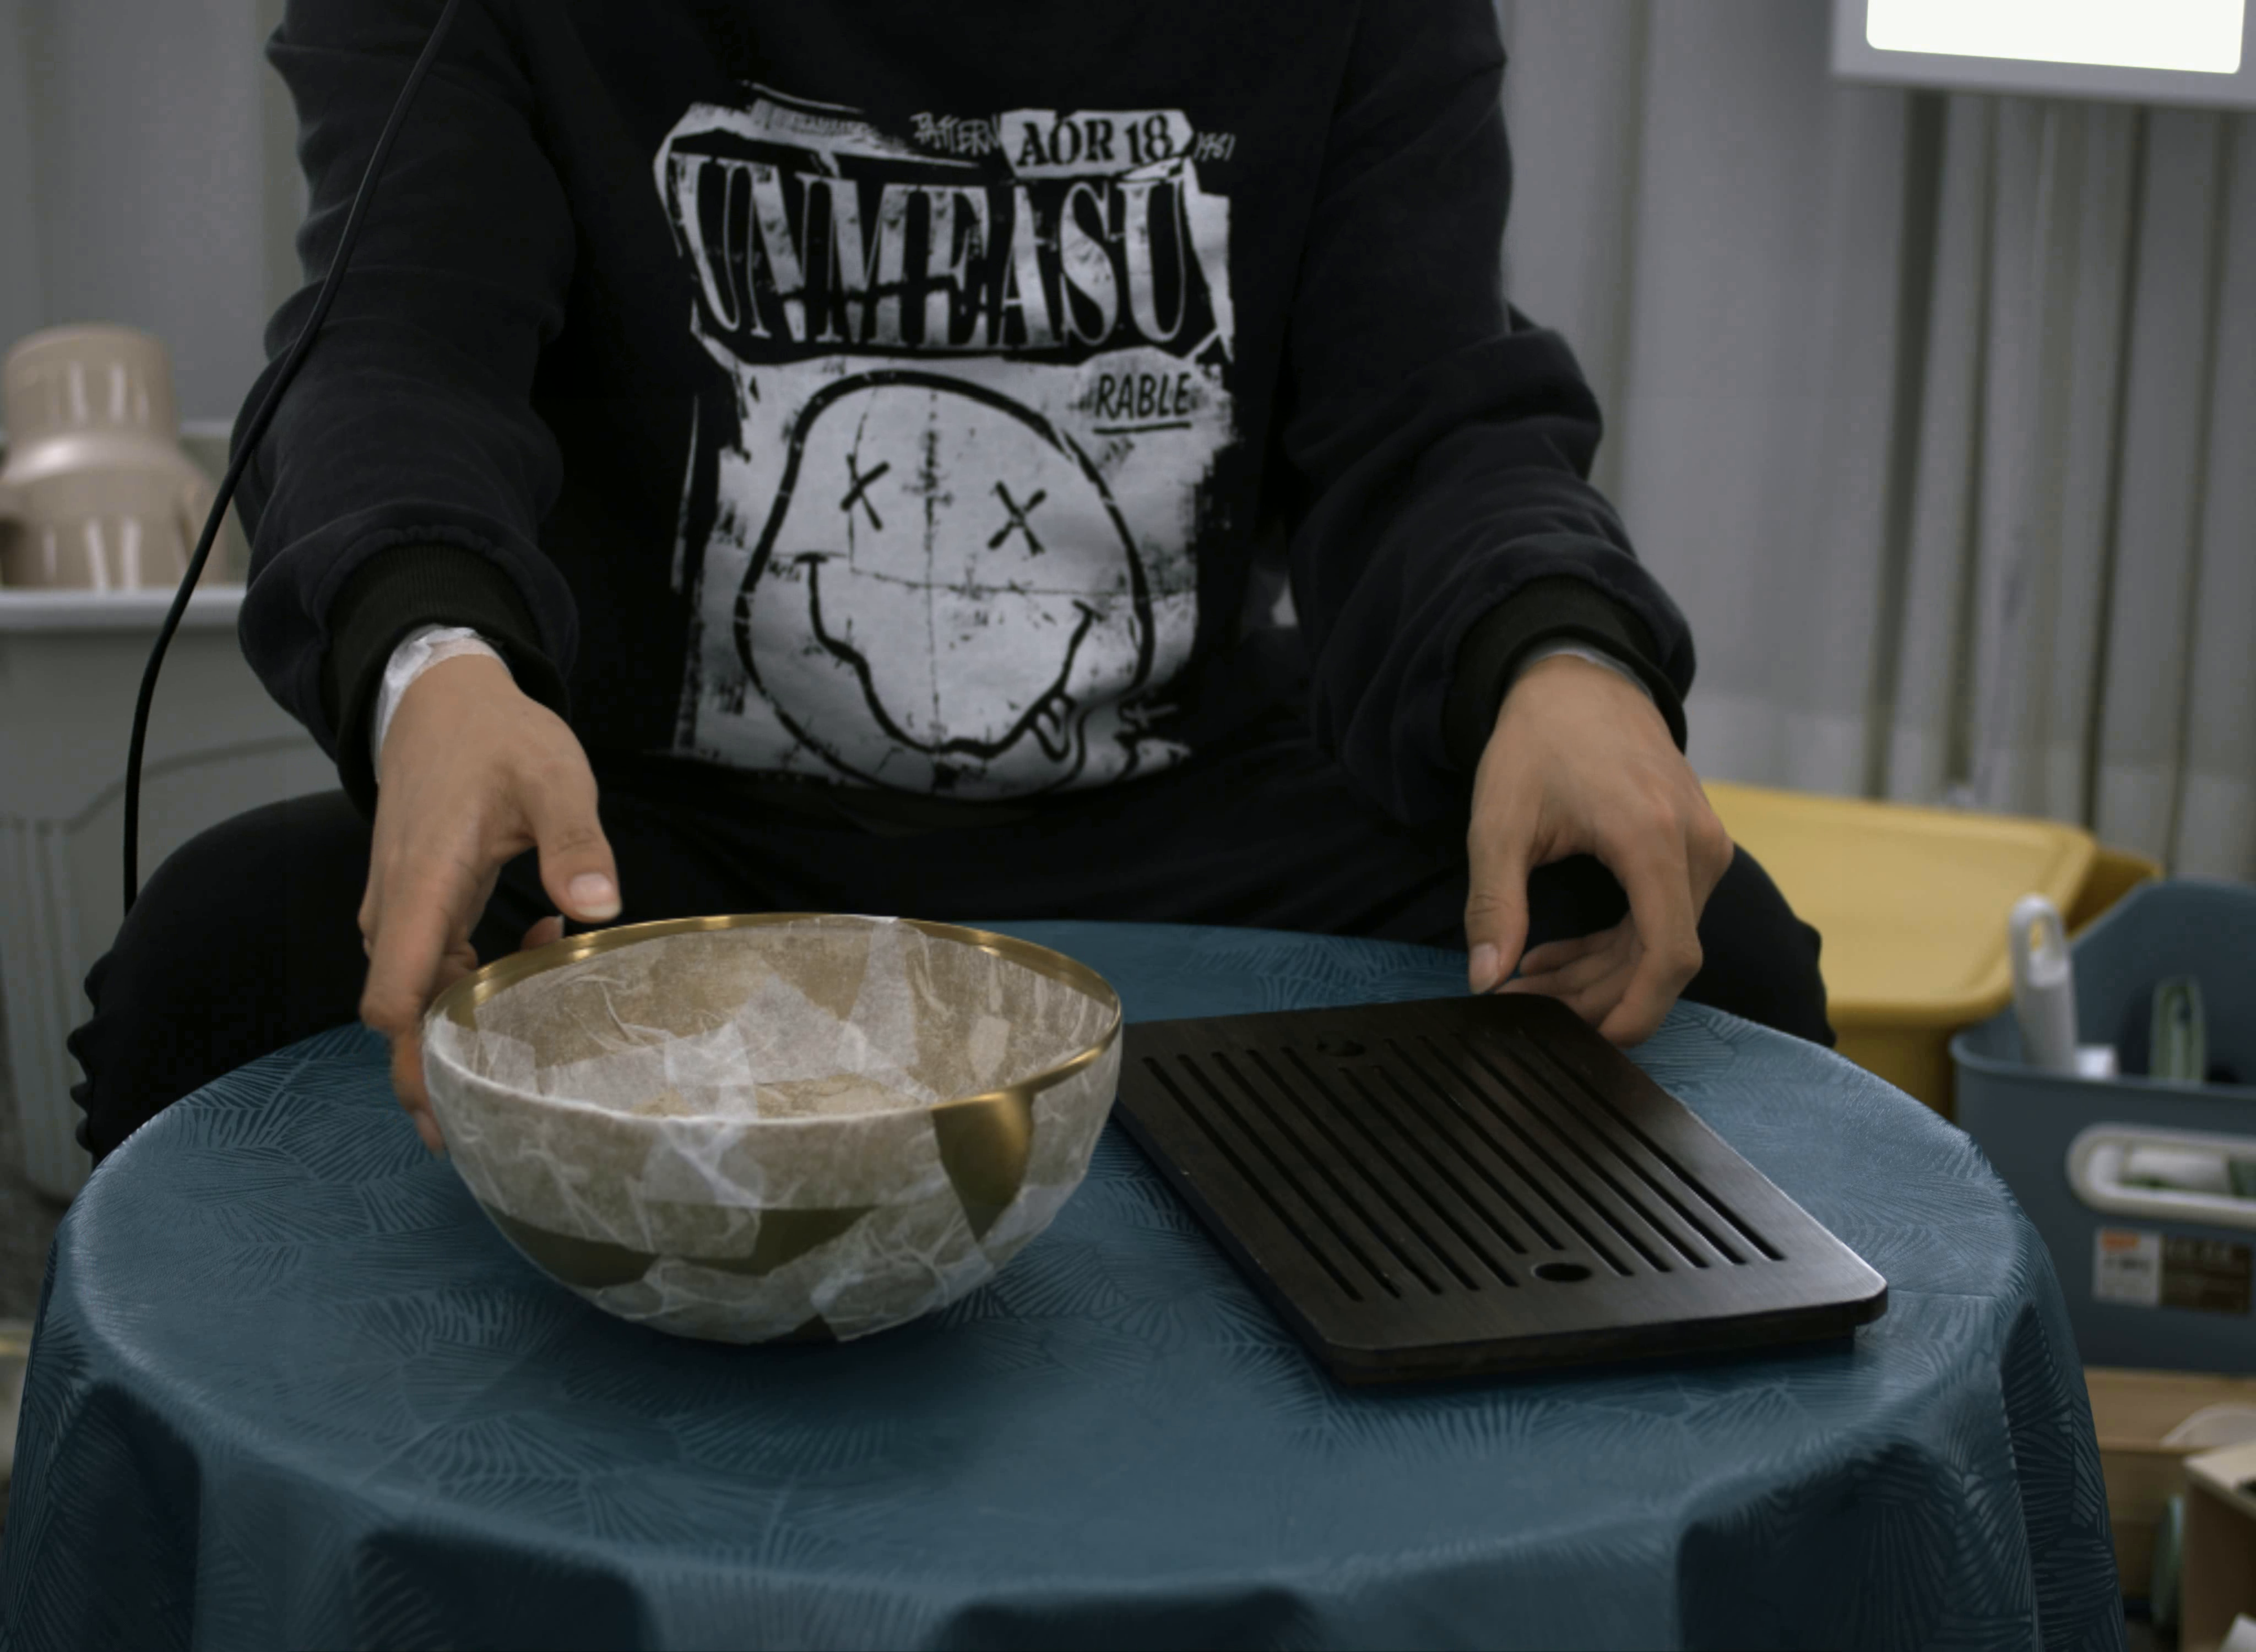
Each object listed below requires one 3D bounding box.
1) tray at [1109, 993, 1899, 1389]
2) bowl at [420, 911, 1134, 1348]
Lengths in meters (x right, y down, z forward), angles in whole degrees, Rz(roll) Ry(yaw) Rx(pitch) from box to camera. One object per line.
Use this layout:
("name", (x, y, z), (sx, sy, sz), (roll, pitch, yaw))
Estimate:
("tray", (0.102, 0.108, 1.615), (0.170, 0.019, 0.303), (-4, 16, -15))
("bowl", (-0.098, 0.095, 1.517), (0.214, 0.095, 0.213), (0, 15, 1))
